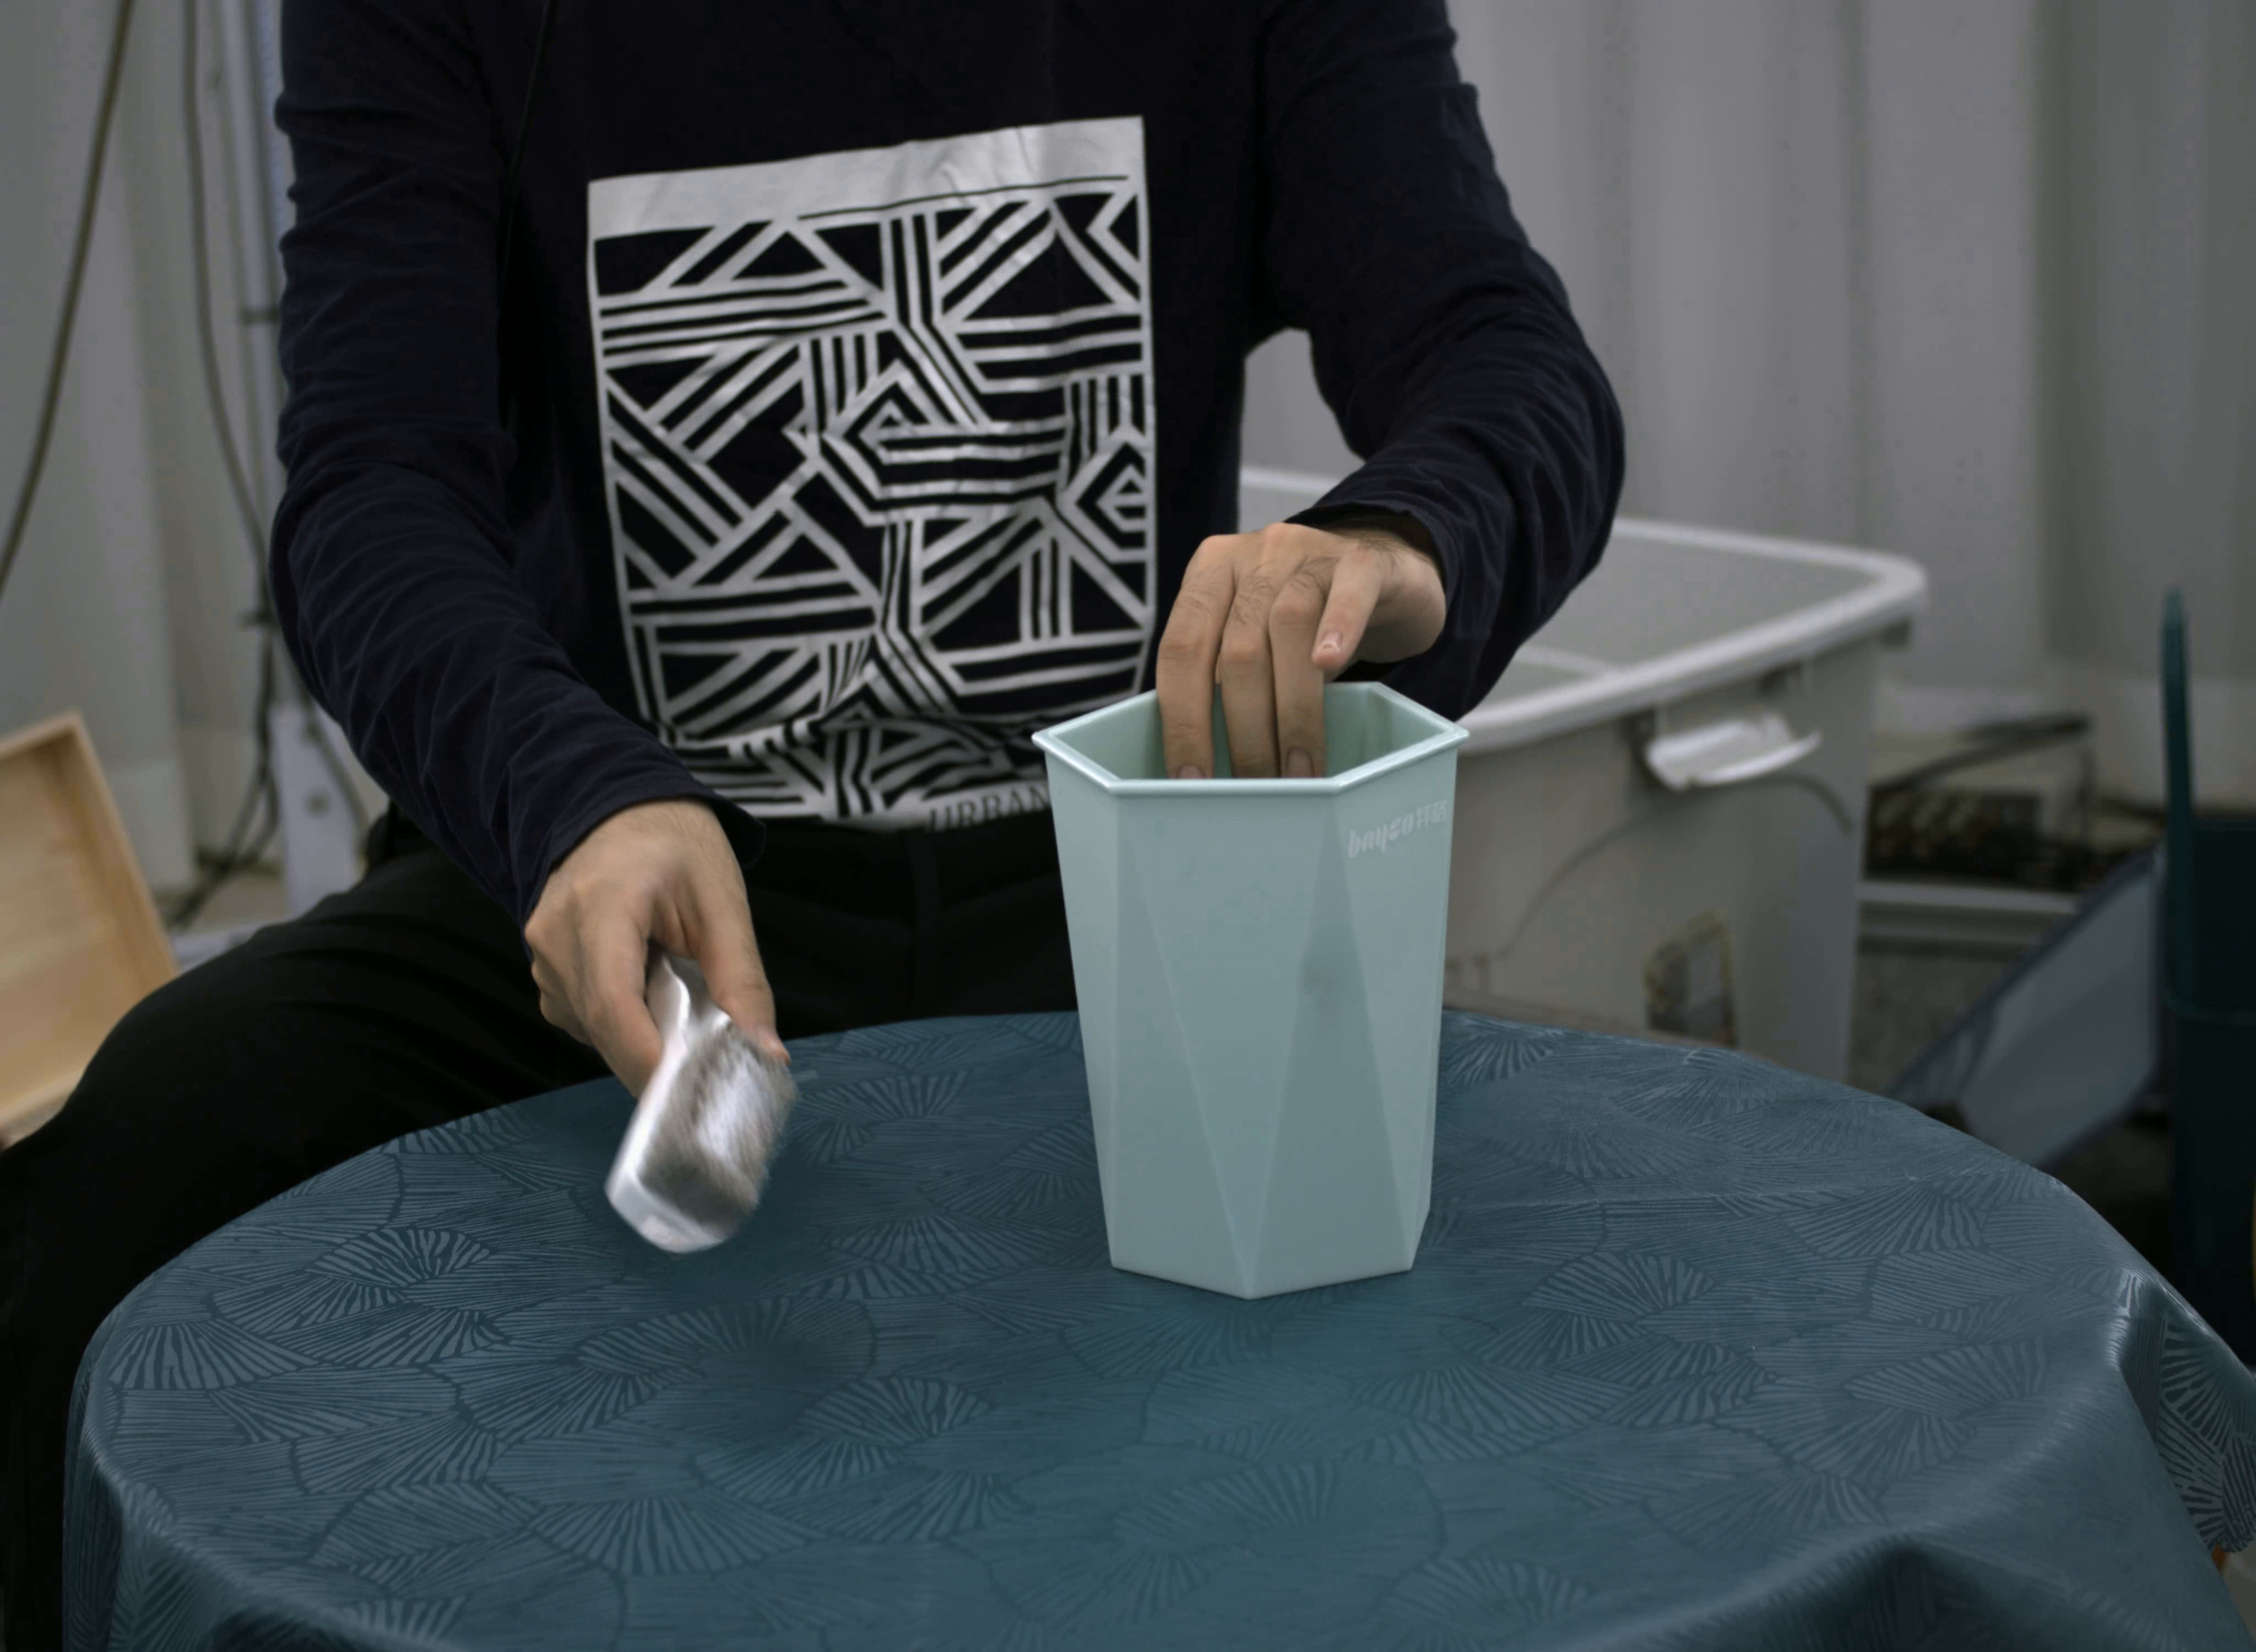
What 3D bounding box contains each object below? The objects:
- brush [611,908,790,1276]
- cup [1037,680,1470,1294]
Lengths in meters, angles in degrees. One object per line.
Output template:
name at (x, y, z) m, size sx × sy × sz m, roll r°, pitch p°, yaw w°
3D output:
brush at (-0.121, 0.063, 1.651) m, size 0.034 × 0.050 × 0.246 m, roll 29°, pitch 19°, yaw -11°
cup at (0.042, 0.048, 1.643) m, size 0.115 × 0.162 × 0.131 m, roll 7°, pitch 17°, yaw 37°
